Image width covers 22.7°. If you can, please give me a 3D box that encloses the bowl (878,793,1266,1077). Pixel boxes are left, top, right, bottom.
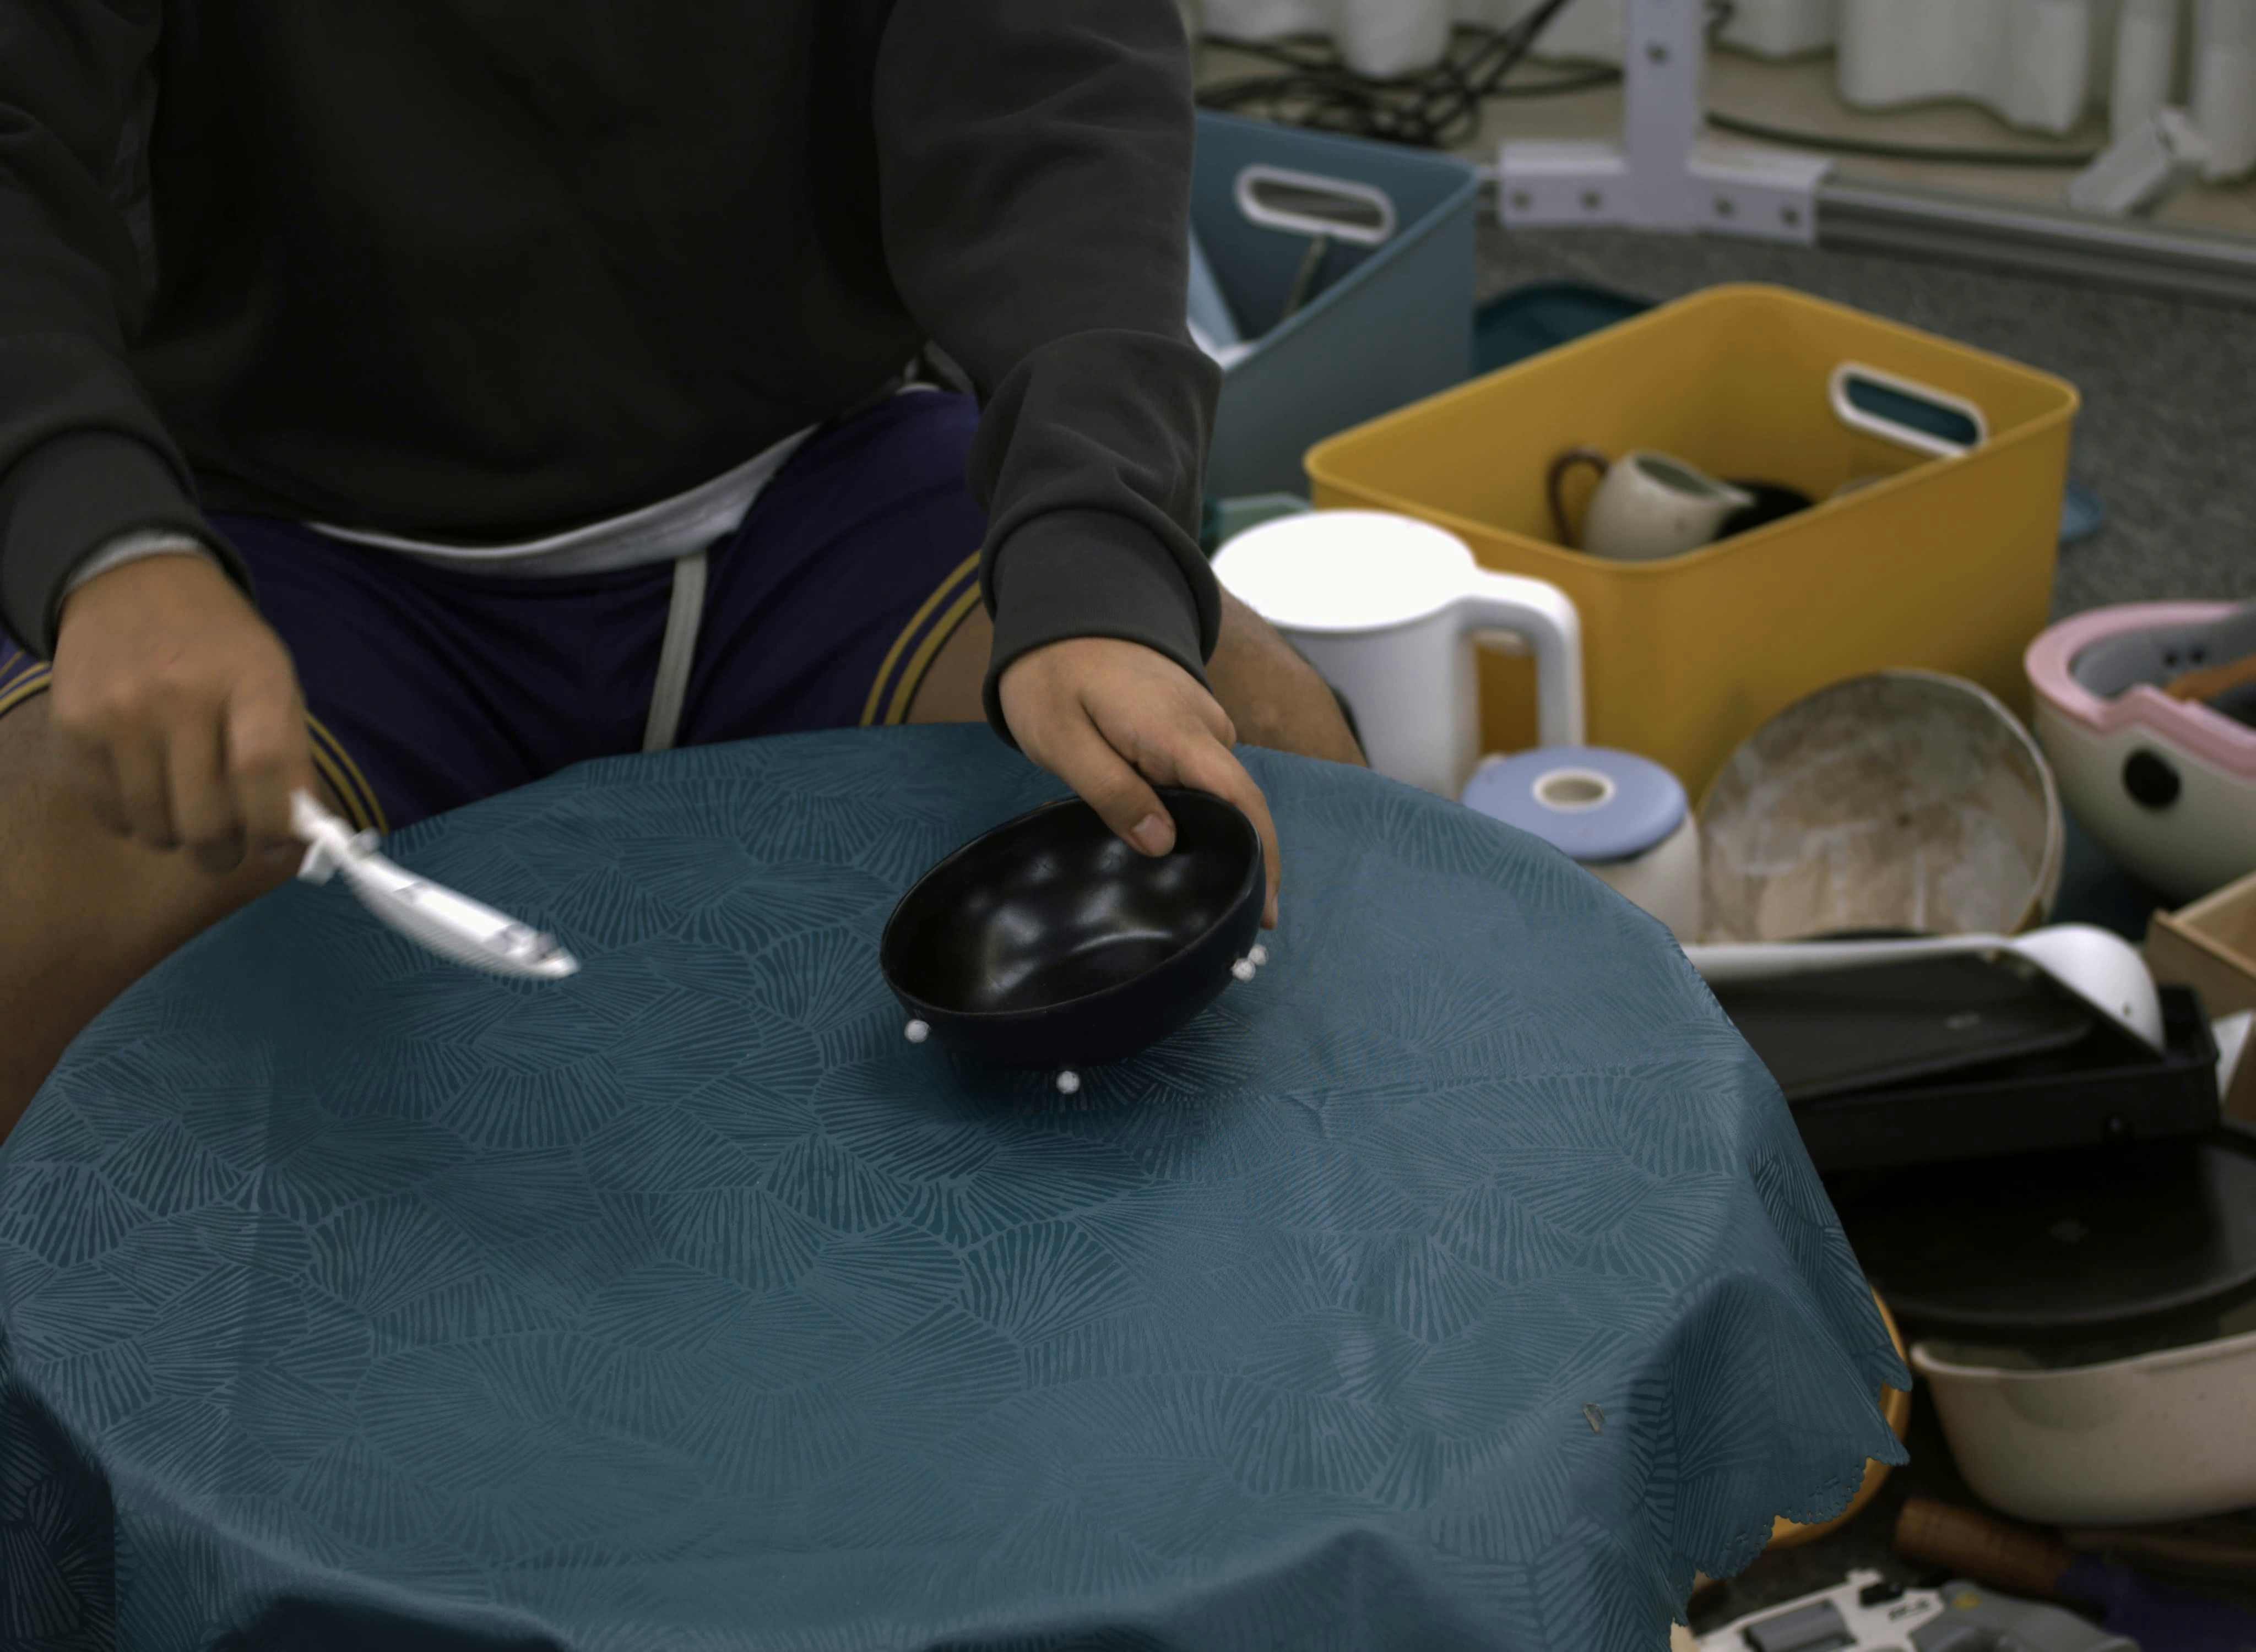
[{"bbox_3d":[-0.013,0.046,1.942,0.139,0.049,0.142,-15,27,8],"label":"bowl"}]

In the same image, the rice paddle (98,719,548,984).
[{"bbox_3d":[-0.269,0.012,1.885,0.205,0.029,0.068,25,2,36],"label":"rice paddle"}]
